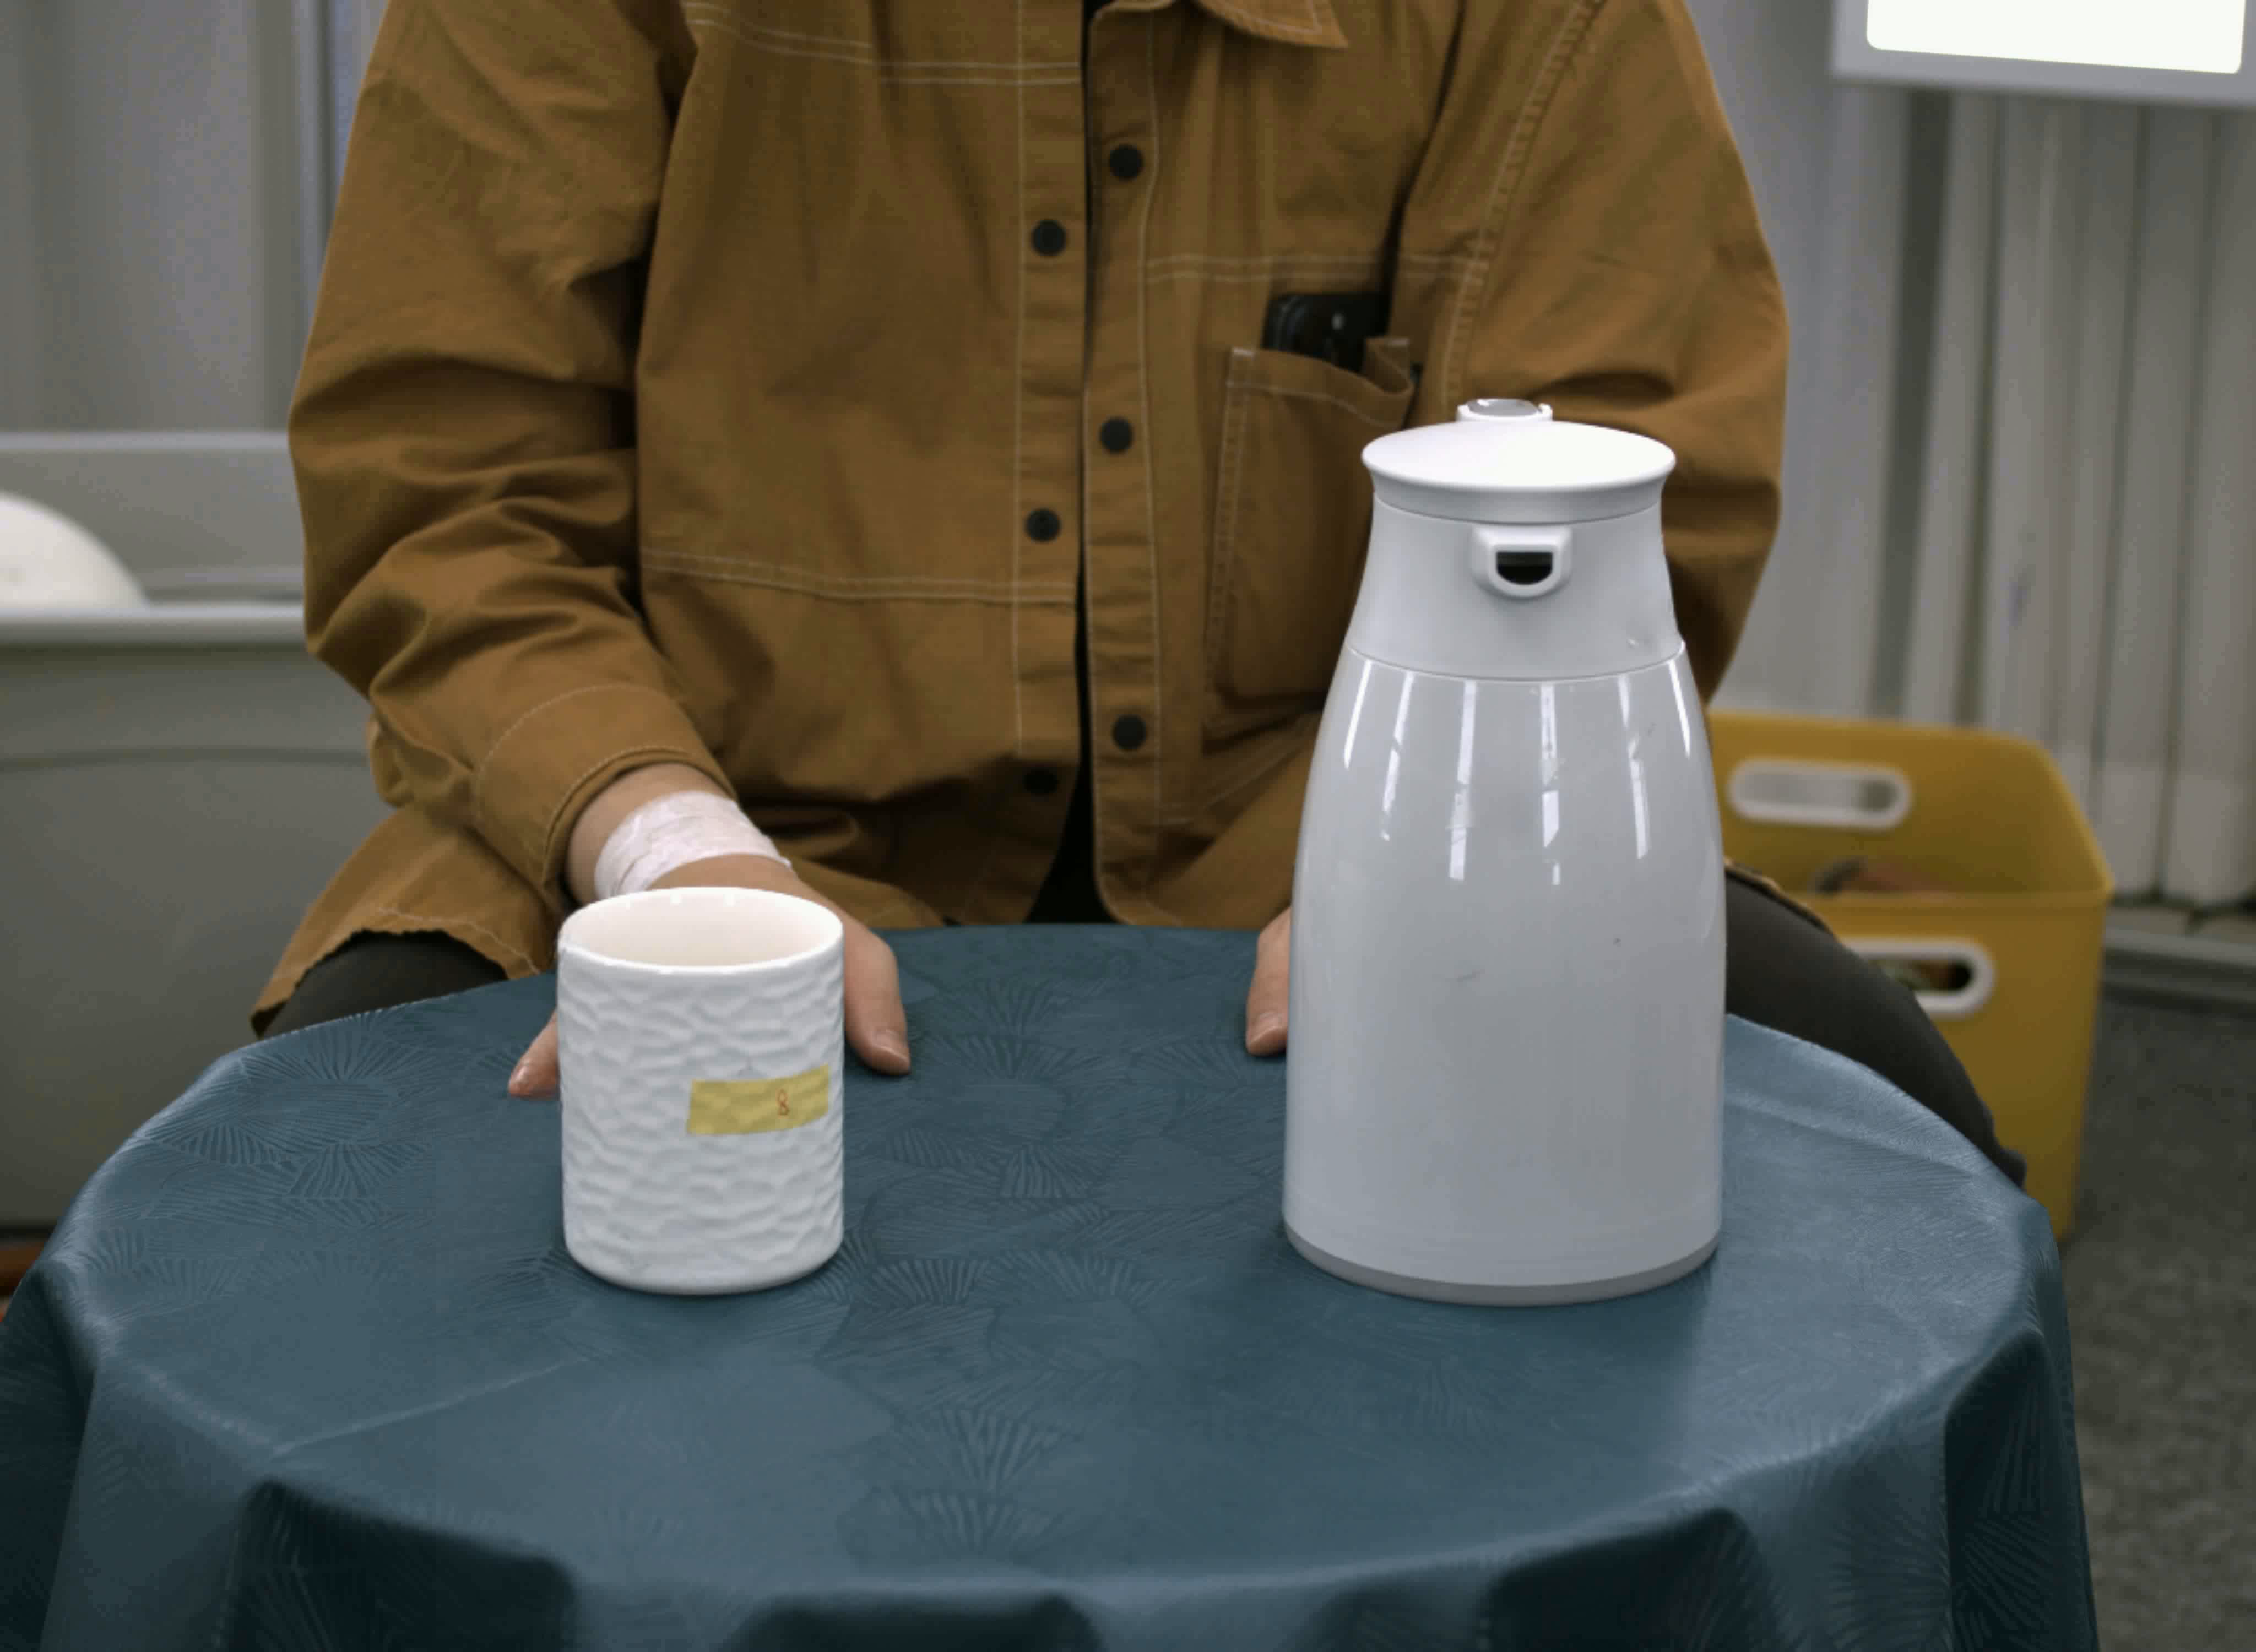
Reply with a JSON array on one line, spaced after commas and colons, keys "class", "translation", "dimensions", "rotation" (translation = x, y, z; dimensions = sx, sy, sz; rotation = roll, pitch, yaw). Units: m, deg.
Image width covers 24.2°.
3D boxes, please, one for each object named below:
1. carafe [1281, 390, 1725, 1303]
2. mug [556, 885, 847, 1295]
[{"class": "carafe", "translation": [0.111, -0.002, 1.573], "dimensions": [0.132, 0.250, 0.167], "rotation": [-1, 16, 0]}, {"class": "mug", "translation": [-0.129, 0.074, 1.567], "dimensions": [0.085, 0.103, 0.117], "rotation": [-2, 15, -12]}]
